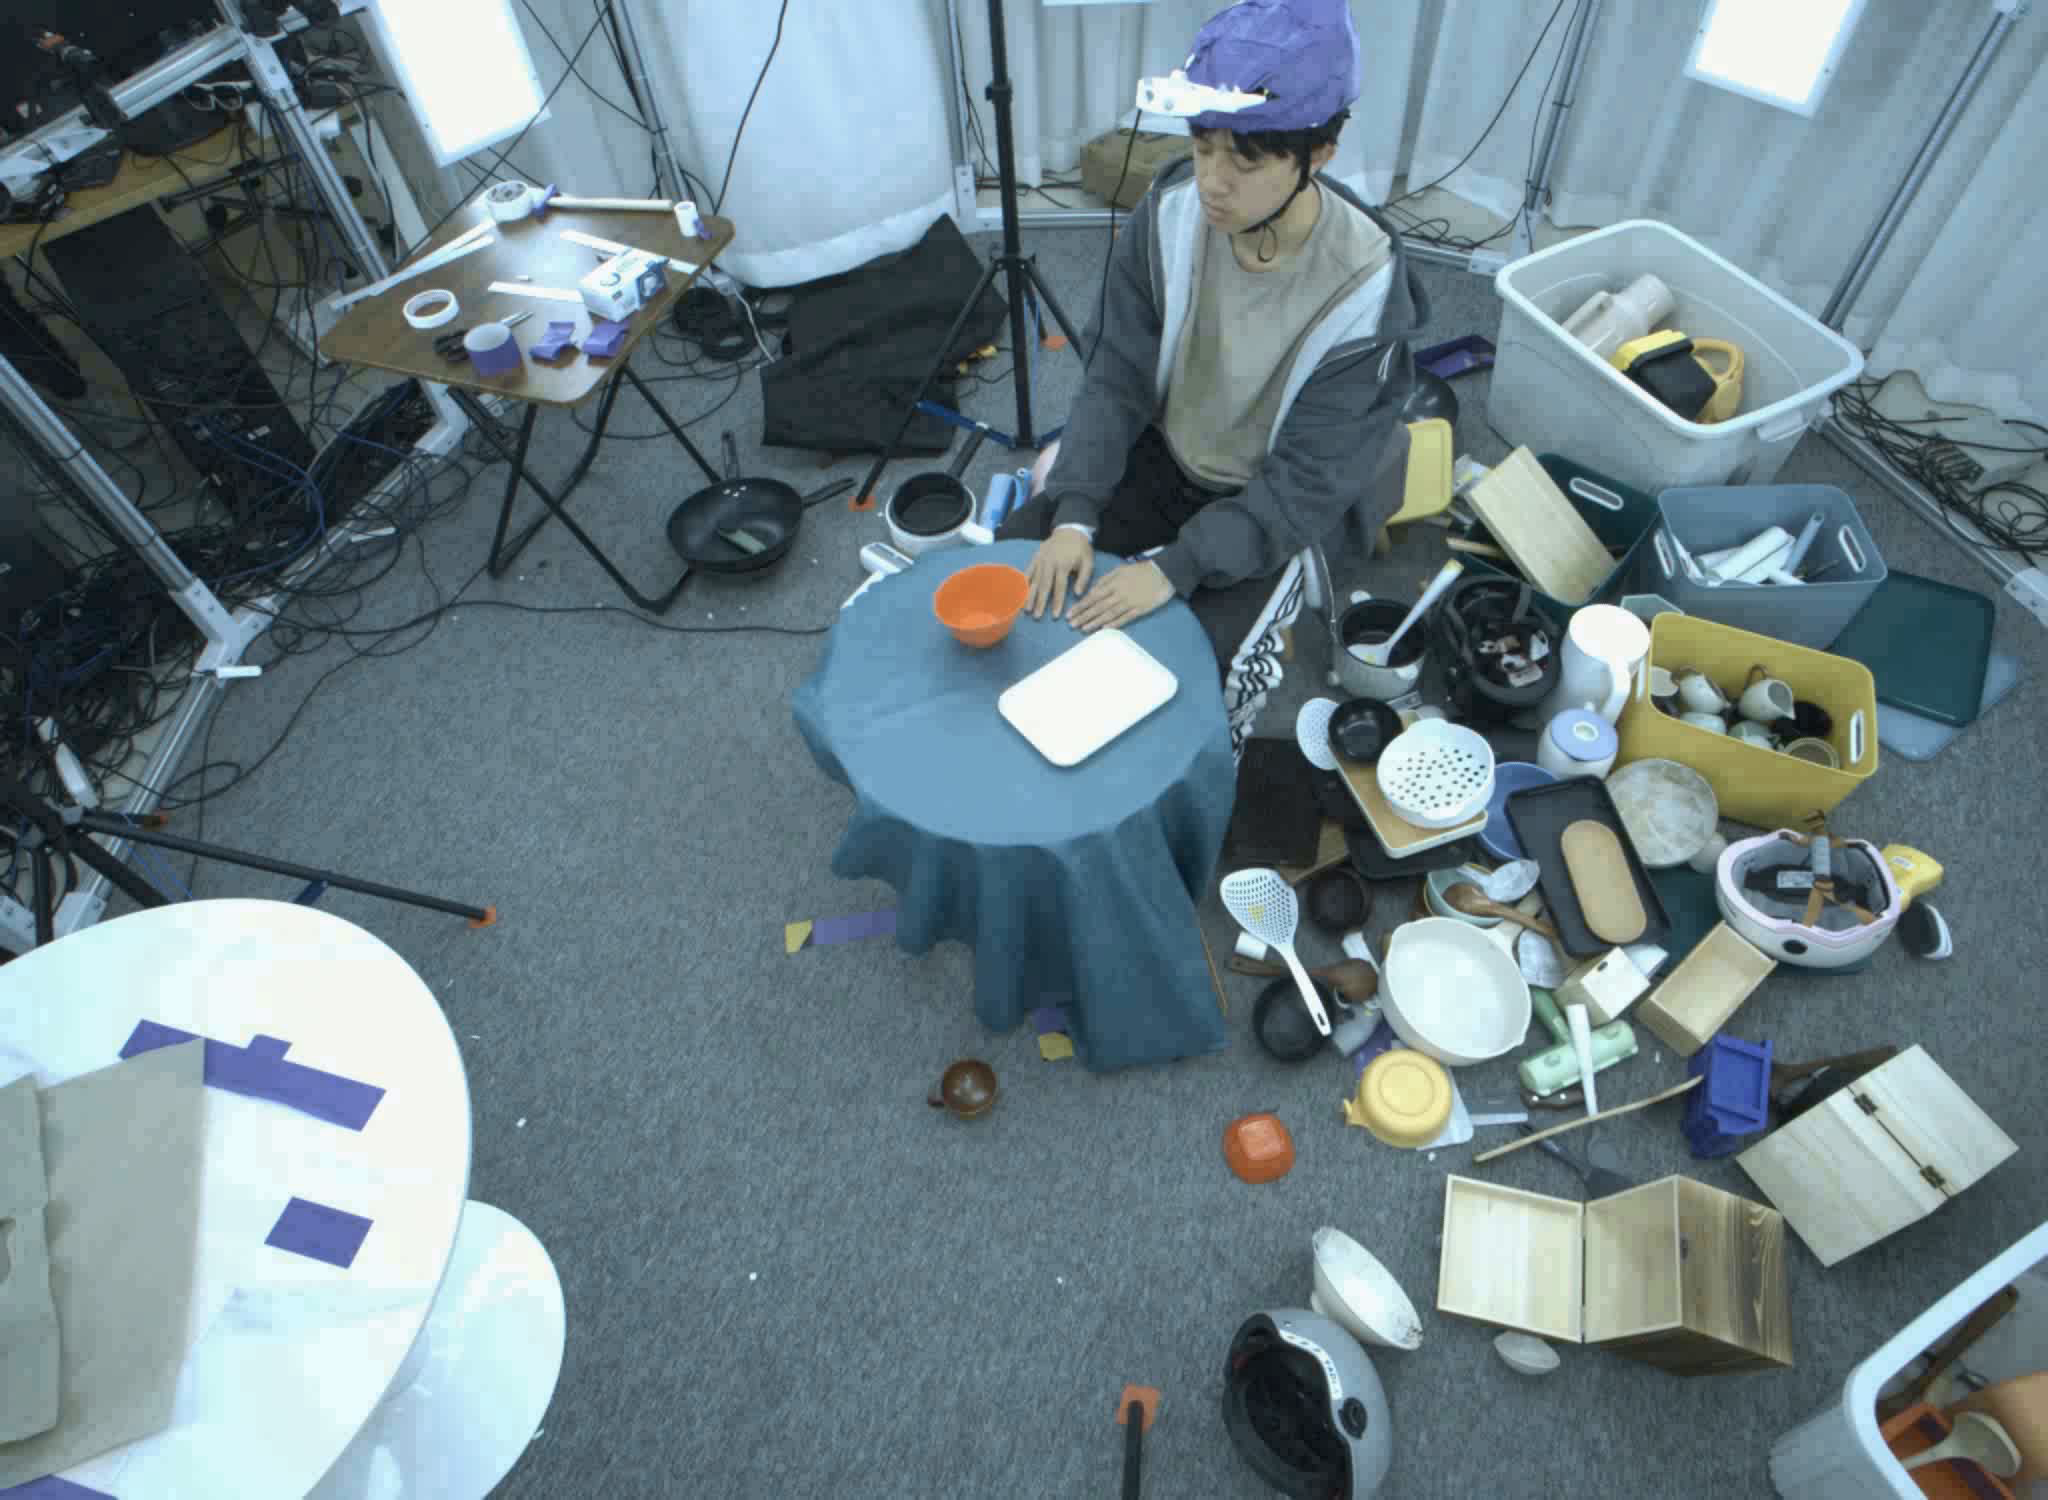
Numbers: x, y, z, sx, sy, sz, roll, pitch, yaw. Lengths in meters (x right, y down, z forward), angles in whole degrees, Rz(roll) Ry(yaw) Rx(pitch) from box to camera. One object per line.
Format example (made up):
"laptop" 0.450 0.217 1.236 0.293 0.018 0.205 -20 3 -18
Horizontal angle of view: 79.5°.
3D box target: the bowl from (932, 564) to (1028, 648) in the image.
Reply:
"bowl" -0.064 -0.208 1.878 0.148 0.106 0.146 -1 56 3

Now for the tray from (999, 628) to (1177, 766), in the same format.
"tray" 0.096 -0.080 1.833 0.241 0.017 0.168 -34 60 -20
